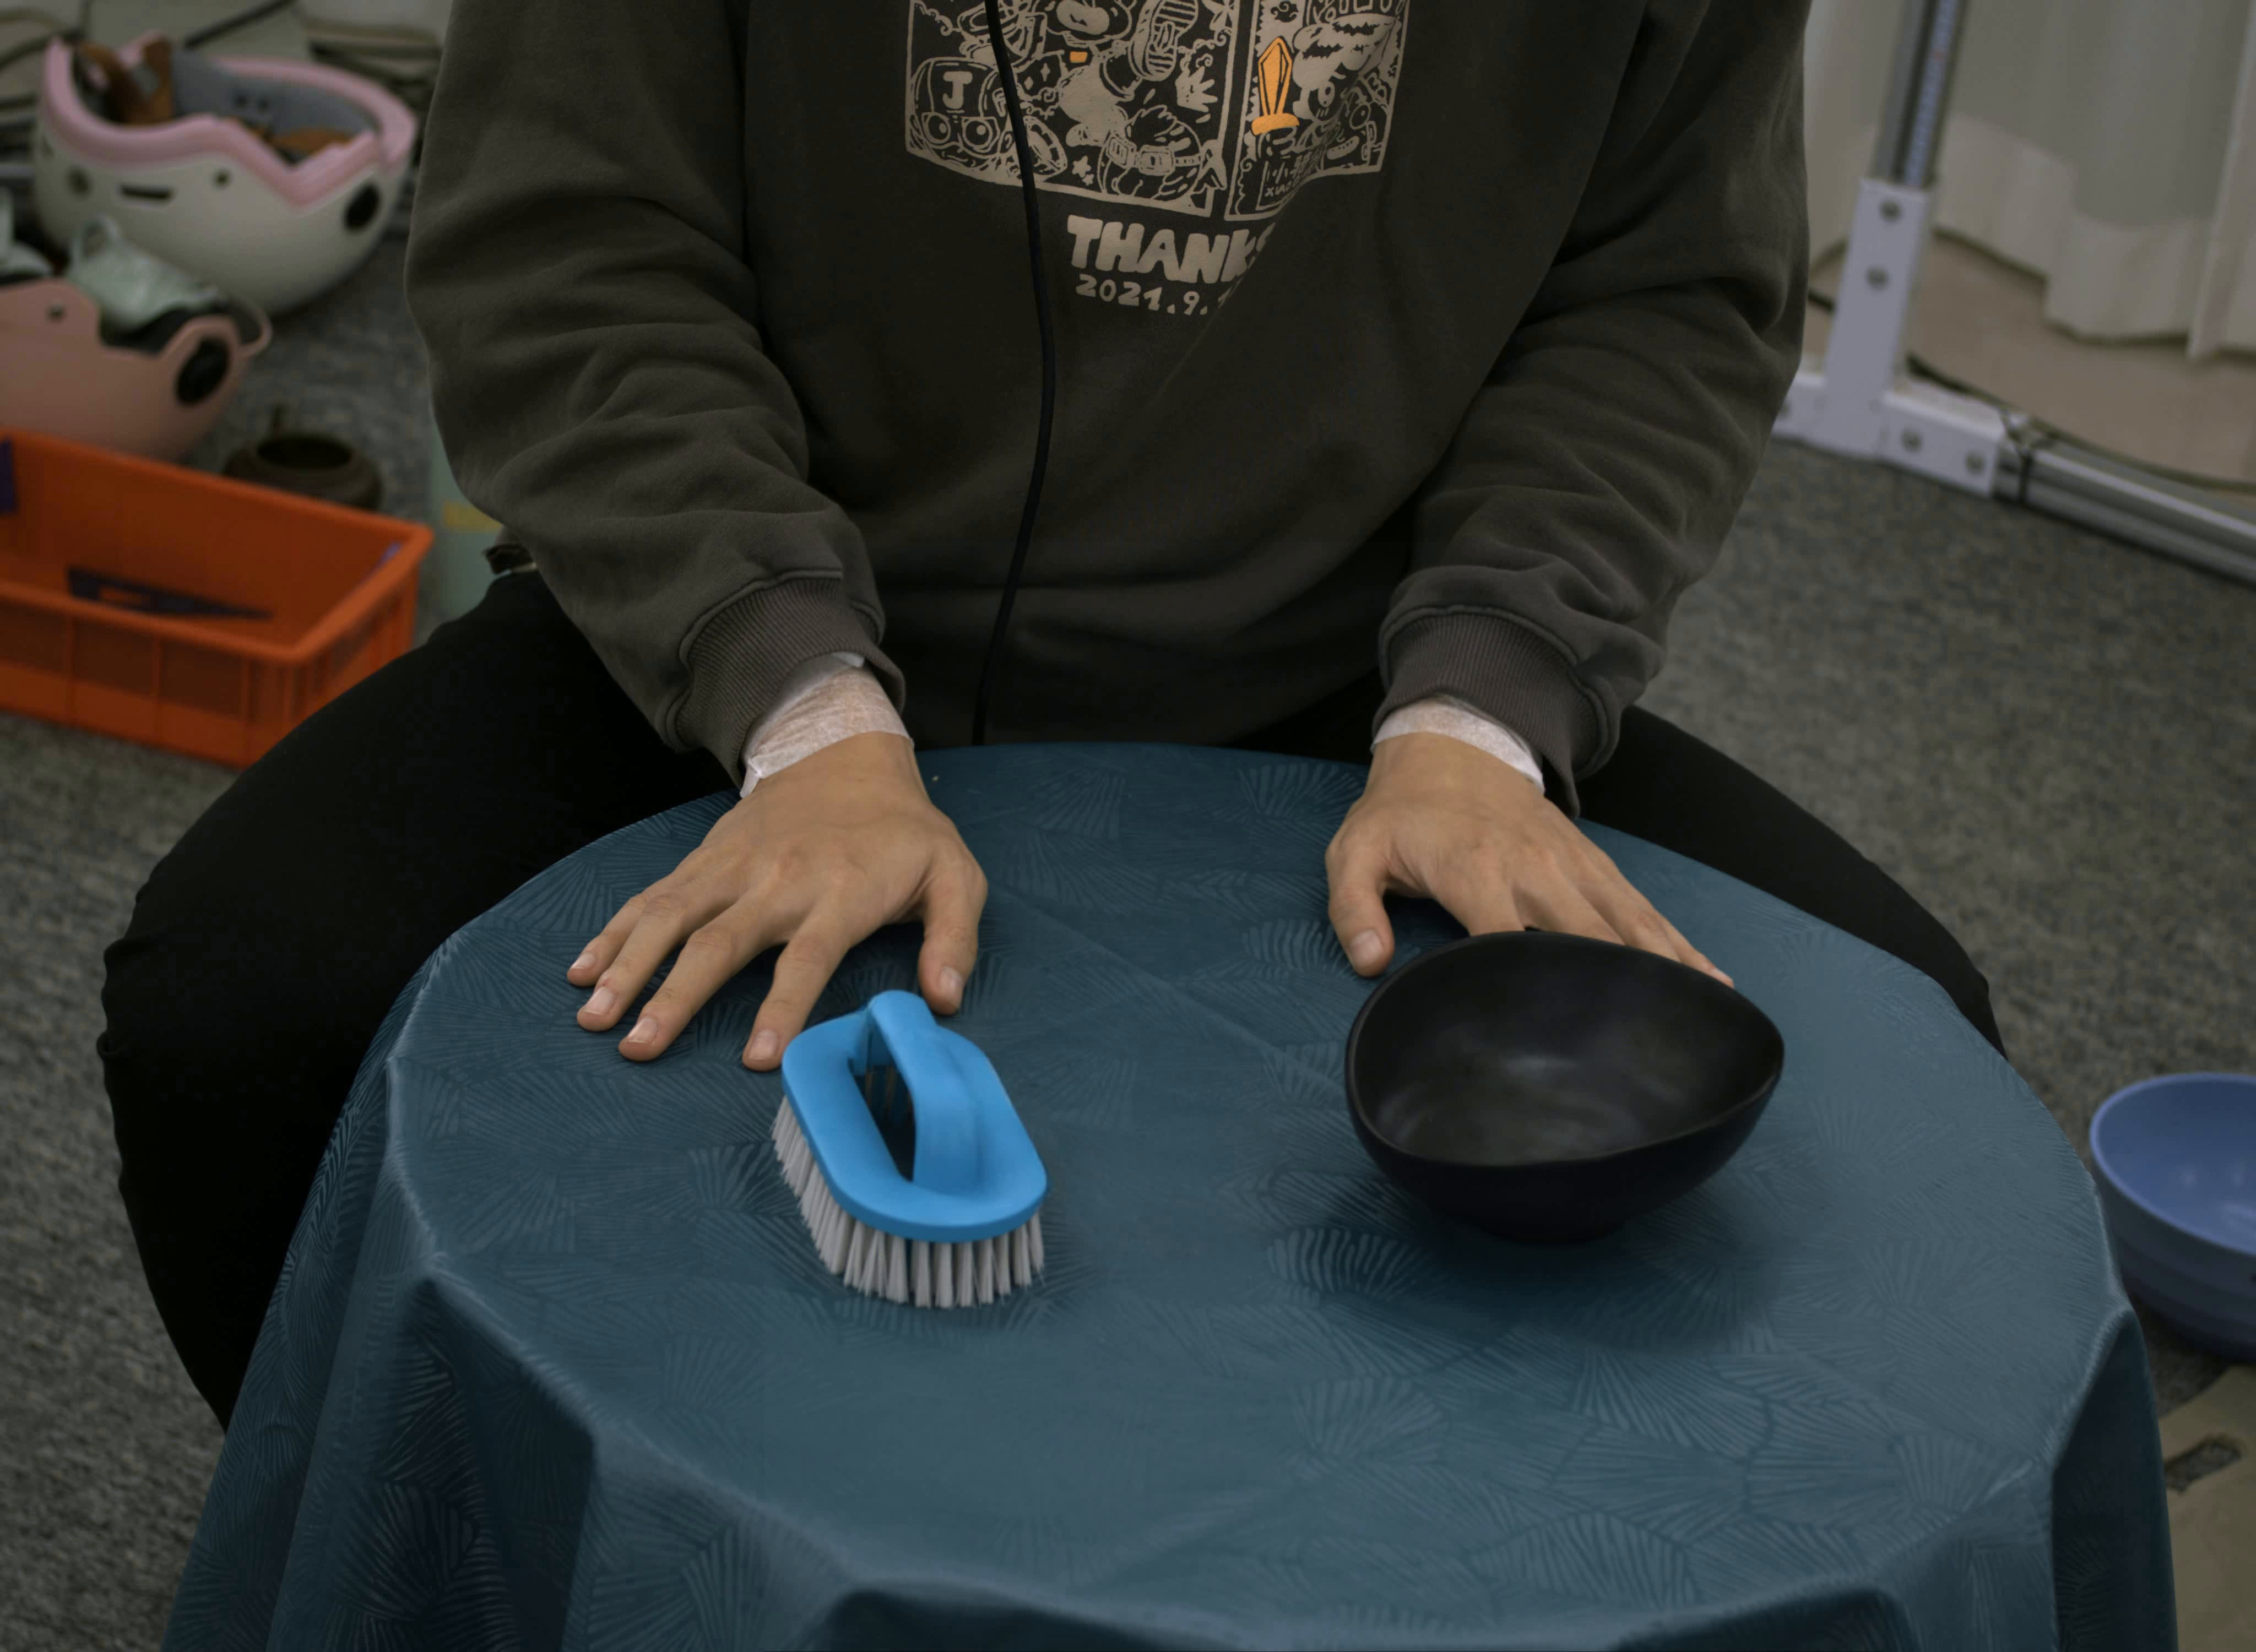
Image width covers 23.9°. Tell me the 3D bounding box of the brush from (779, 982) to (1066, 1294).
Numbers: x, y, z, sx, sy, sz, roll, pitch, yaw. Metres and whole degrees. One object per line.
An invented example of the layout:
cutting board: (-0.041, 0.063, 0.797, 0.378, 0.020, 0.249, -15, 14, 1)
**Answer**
brush: (-0.070, 0.095, 1.772, 0.084, 0.063, 0.143, -5, 27, -13)

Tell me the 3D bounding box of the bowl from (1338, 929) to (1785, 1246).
bowl: (0.145, 0.099, 1.815, 0.138, 0.066, 0.169, 26, 34, 36)
